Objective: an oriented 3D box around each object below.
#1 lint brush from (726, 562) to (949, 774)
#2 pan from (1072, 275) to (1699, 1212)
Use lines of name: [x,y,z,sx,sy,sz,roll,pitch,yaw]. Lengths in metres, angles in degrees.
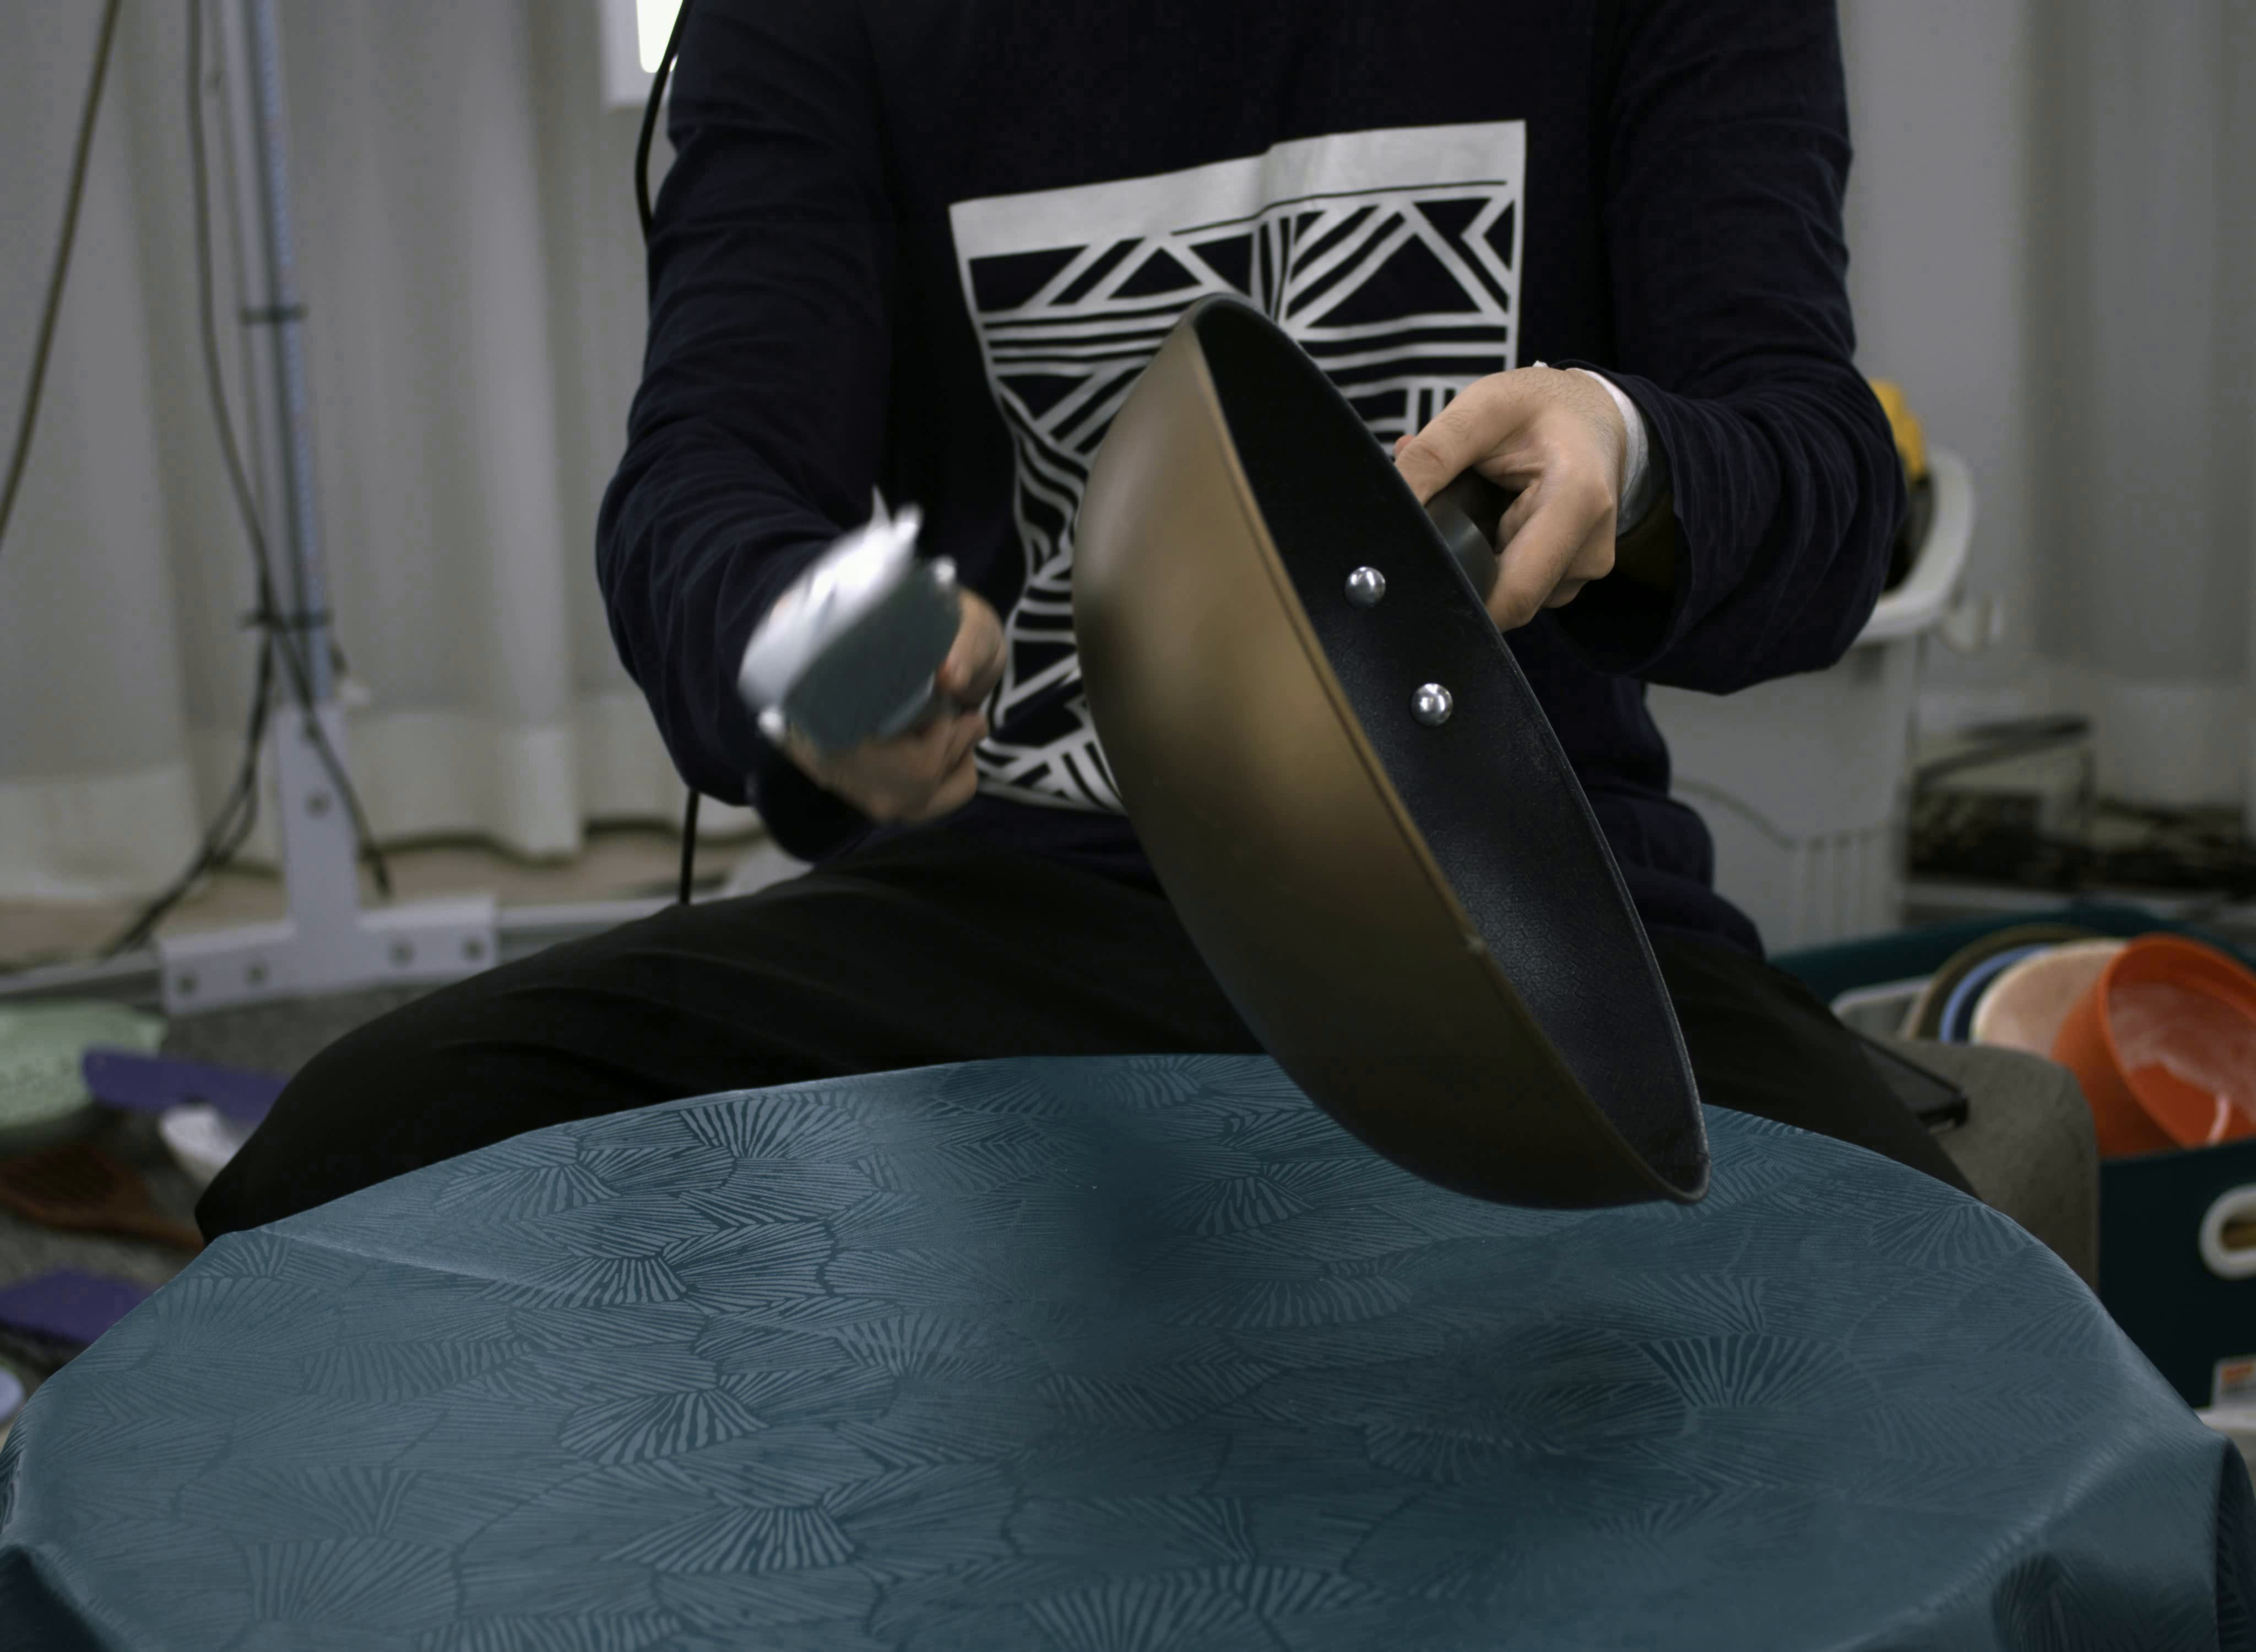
lint brush: [-0.077,-0.040,1.596,0.021,0.060,0.308,42,0,5]
pan: [0.067,-0.037,1.594,0.086,0.287,0.467,-27,14,13]
